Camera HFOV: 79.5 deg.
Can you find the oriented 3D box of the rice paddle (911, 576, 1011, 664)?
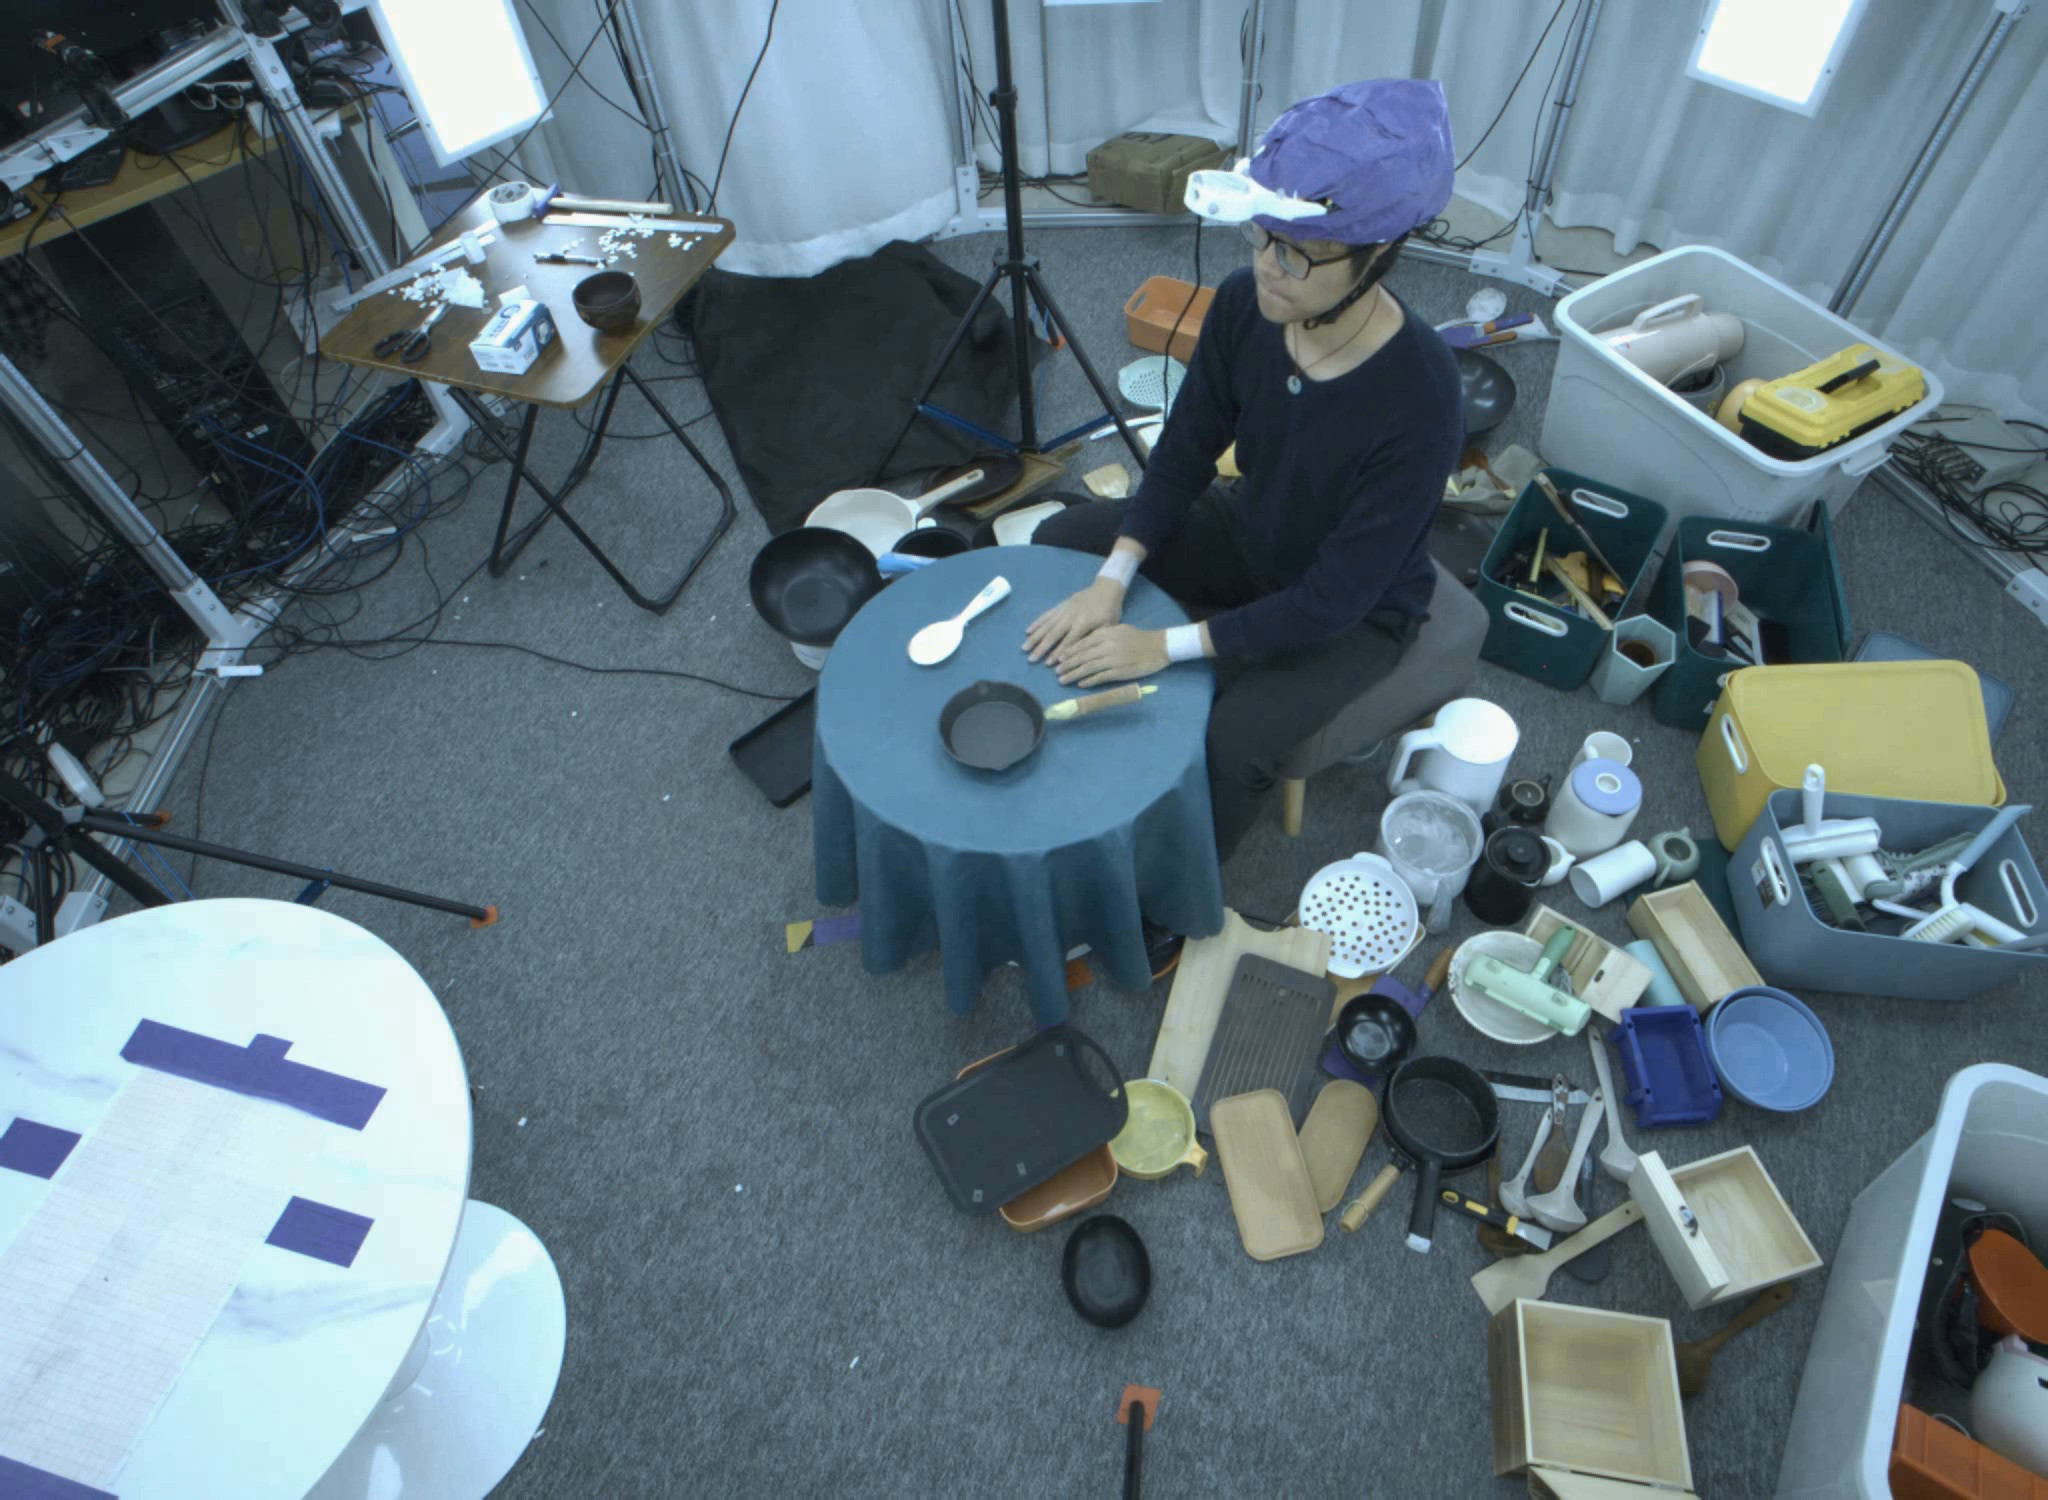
[{"bbox_3d":[-0.098,-0.202,1.916,0.067,0.030,0.206,33,62,25],"label":"rice paddle"}]

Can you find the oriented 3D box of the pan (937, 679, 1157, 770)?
[{"bbox_3d":[0.036,-0.050,1.790,0.325,0.050,0.166,-10,55,-3],"label":"pan"}]
